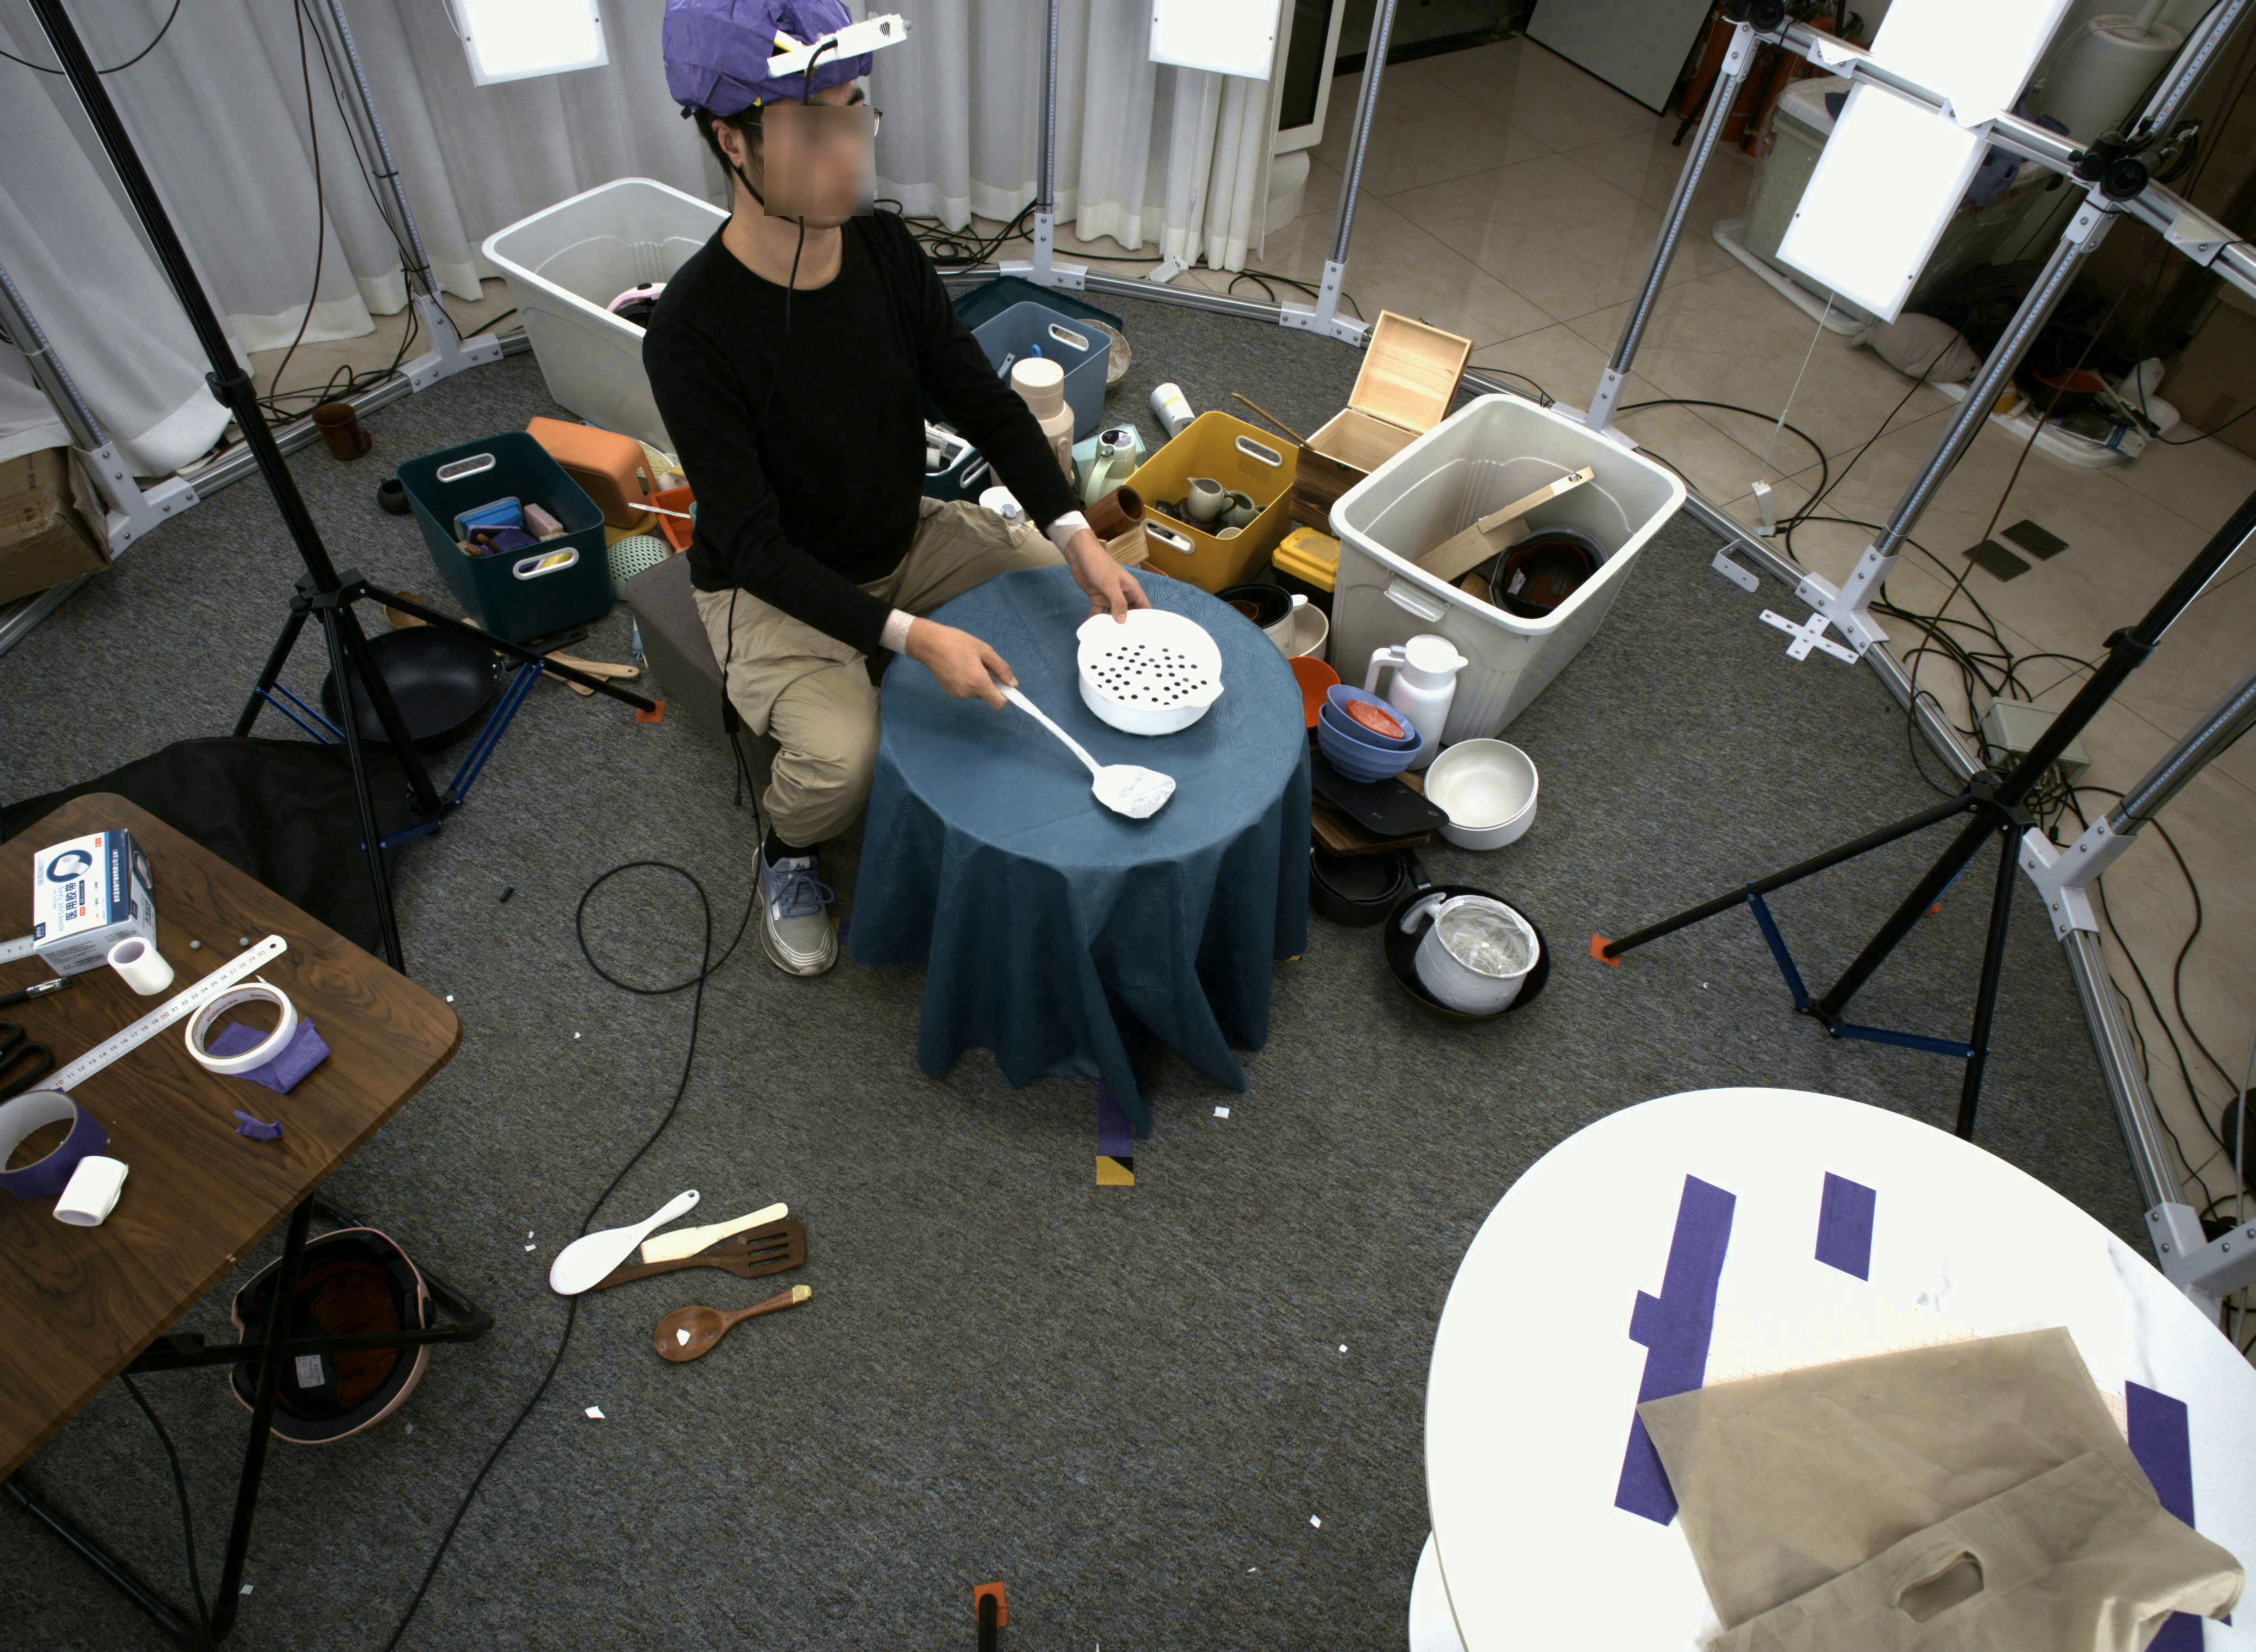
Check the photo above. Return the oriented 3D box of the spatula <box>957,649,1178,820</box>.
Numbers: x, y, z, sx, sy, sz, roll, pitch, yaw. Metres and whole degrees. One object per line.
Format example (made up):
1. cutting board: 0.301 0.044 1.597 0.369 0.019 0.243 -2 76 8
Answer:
1. spatula: -0.095 -0.133 1.719 0.367 0.044 0.100 40 54 9

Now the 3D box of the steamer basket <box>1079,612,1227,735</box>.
1. steamer basket: 0.032 -0.214 1.812 0.233 0.067 0.204 32 54 23
